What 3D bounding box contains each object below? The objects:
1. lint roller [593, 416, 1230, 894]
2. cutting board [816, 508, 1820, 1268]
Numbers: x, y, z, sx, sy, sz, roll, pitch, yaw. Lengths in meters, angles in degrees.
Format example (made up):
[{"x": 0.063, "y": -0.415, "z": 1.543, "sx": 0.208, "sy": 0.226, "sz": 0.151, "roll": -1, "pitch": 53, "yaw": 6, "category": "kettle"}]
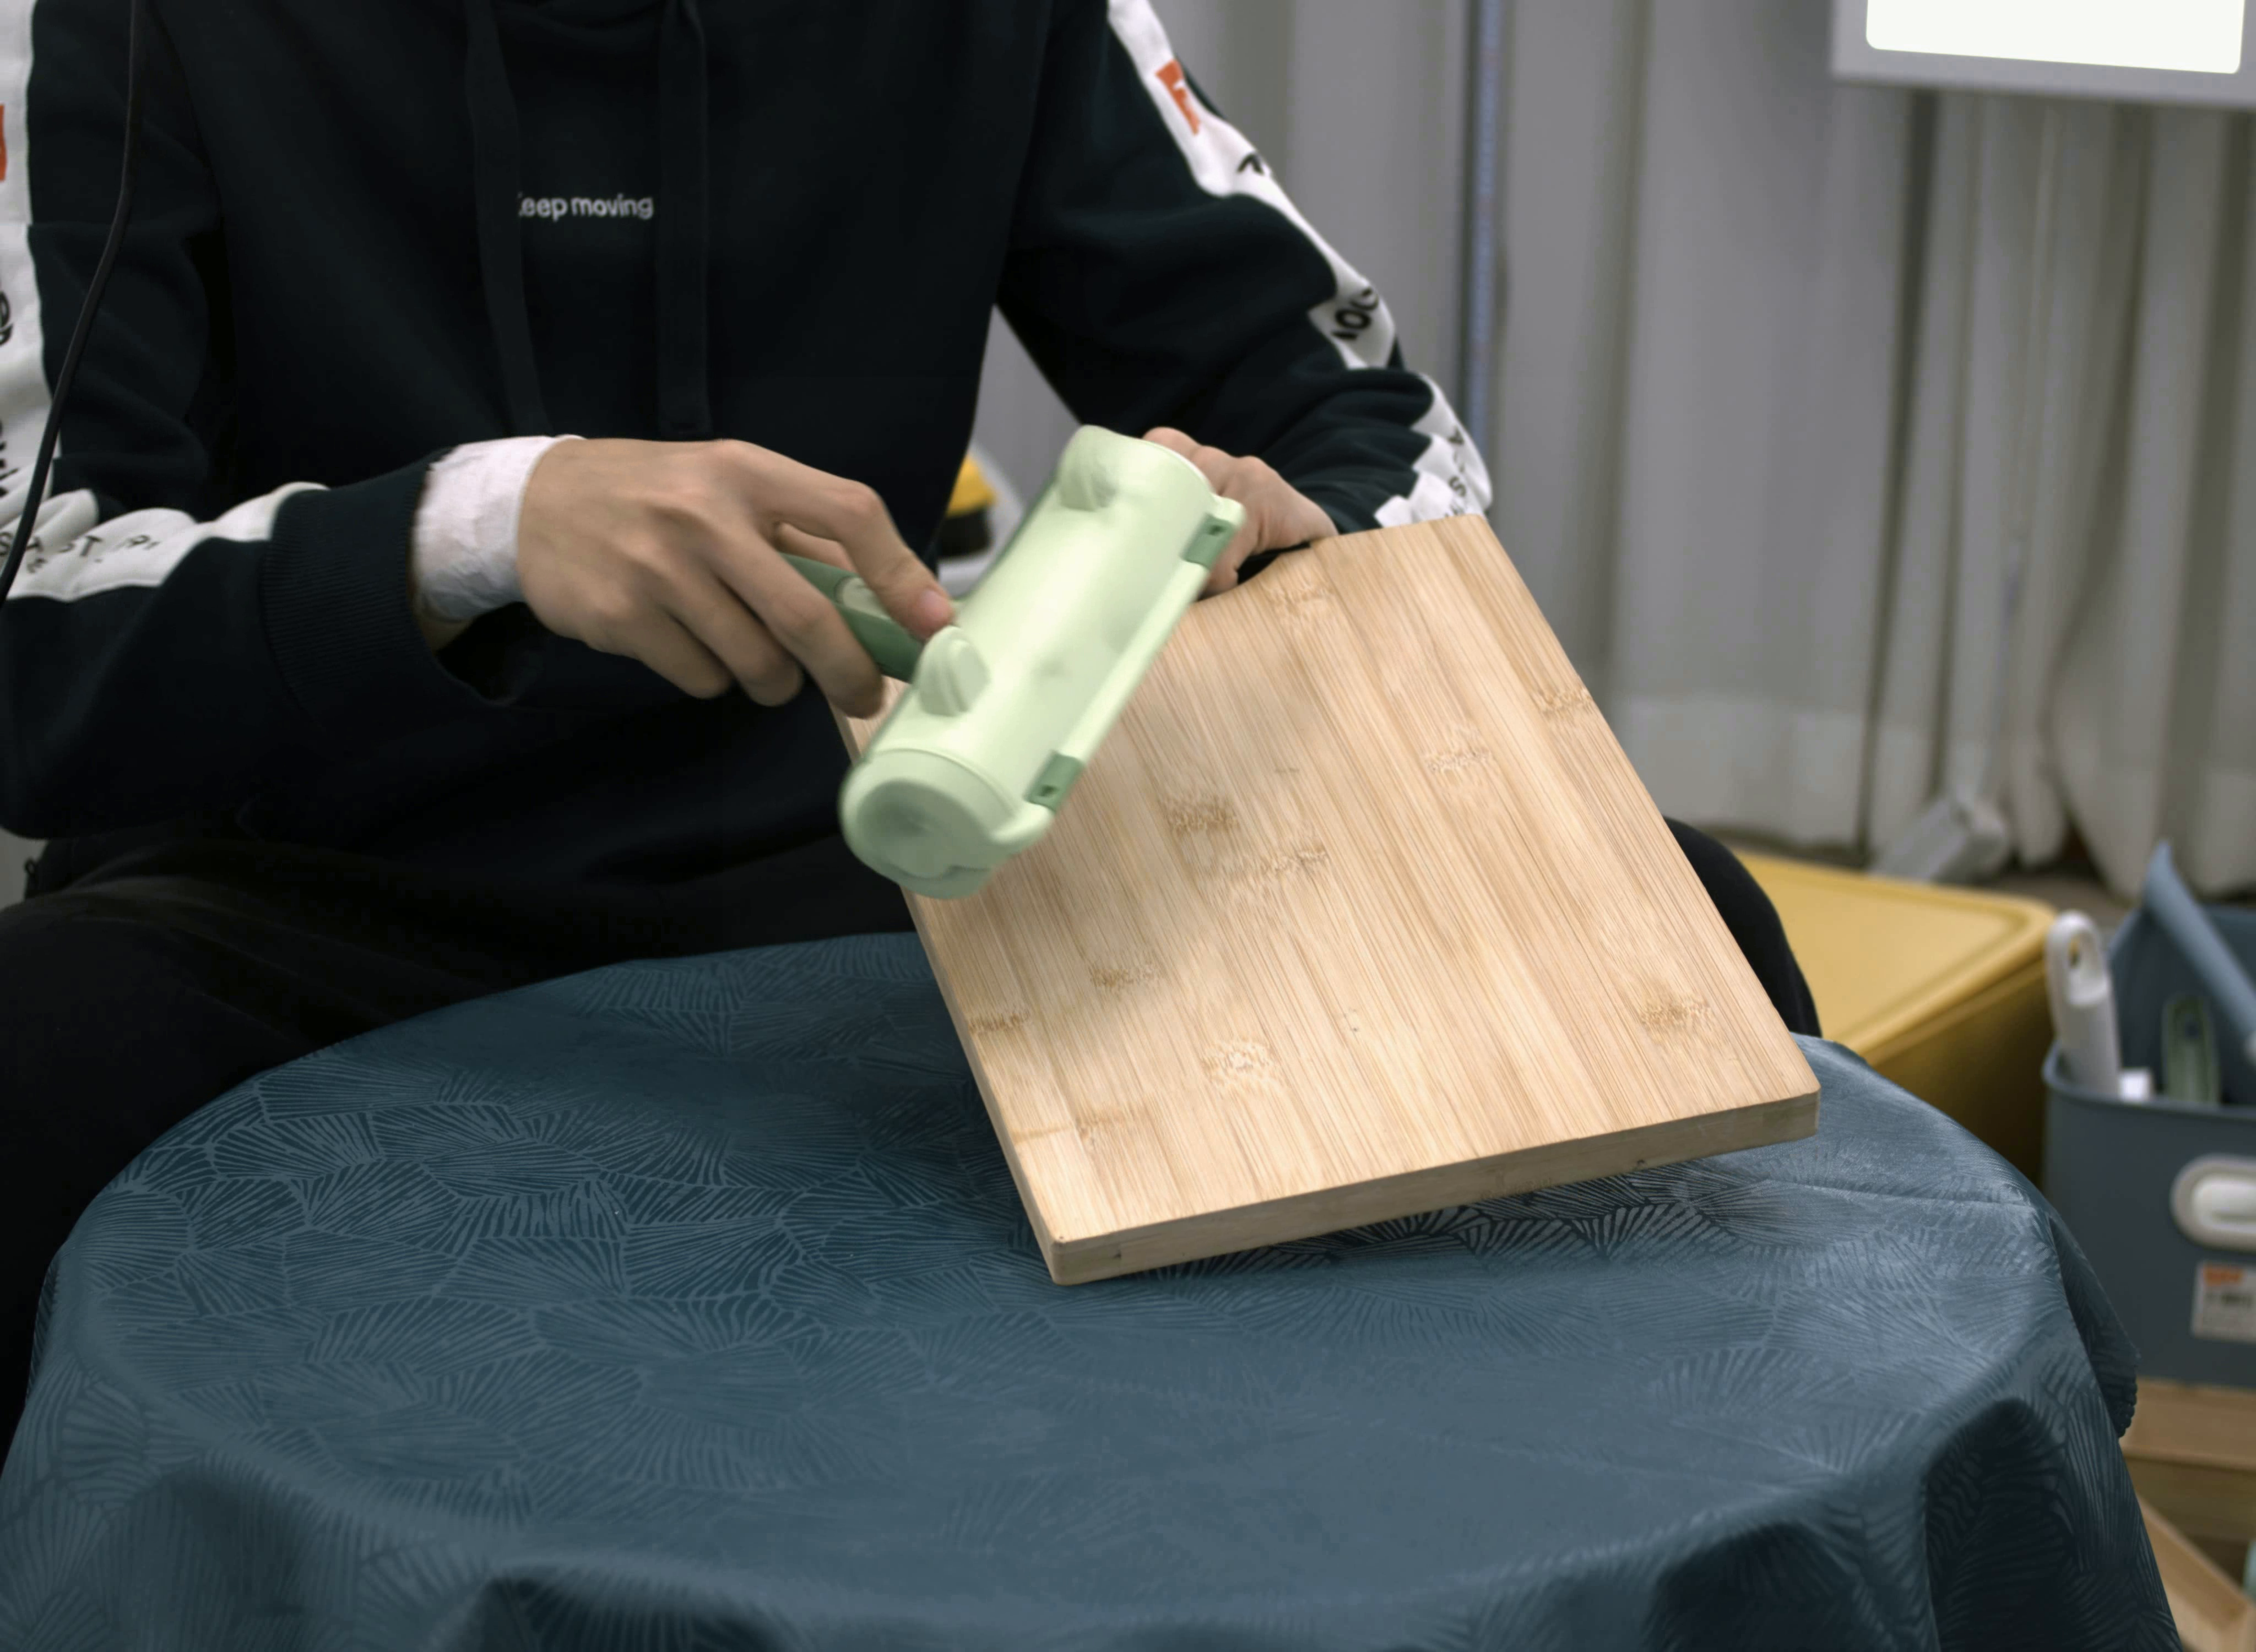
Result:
[{"x": -0.084, "y": -0.077, "z": 1.653, "sx": 0.182, "sy": 0.083, "sz": 0.198, "roll": 19, "pitch": 42, "yaw": 11, "category": "lint roller"}, {"x": 0.050, "y": 0.011, "z": 1.695, "sx": 0.251, "sy": 0.024, "sz": 0.344, "roll": -10, "pitch": 37, "yaw": -12, "category": "cutting board"}]
